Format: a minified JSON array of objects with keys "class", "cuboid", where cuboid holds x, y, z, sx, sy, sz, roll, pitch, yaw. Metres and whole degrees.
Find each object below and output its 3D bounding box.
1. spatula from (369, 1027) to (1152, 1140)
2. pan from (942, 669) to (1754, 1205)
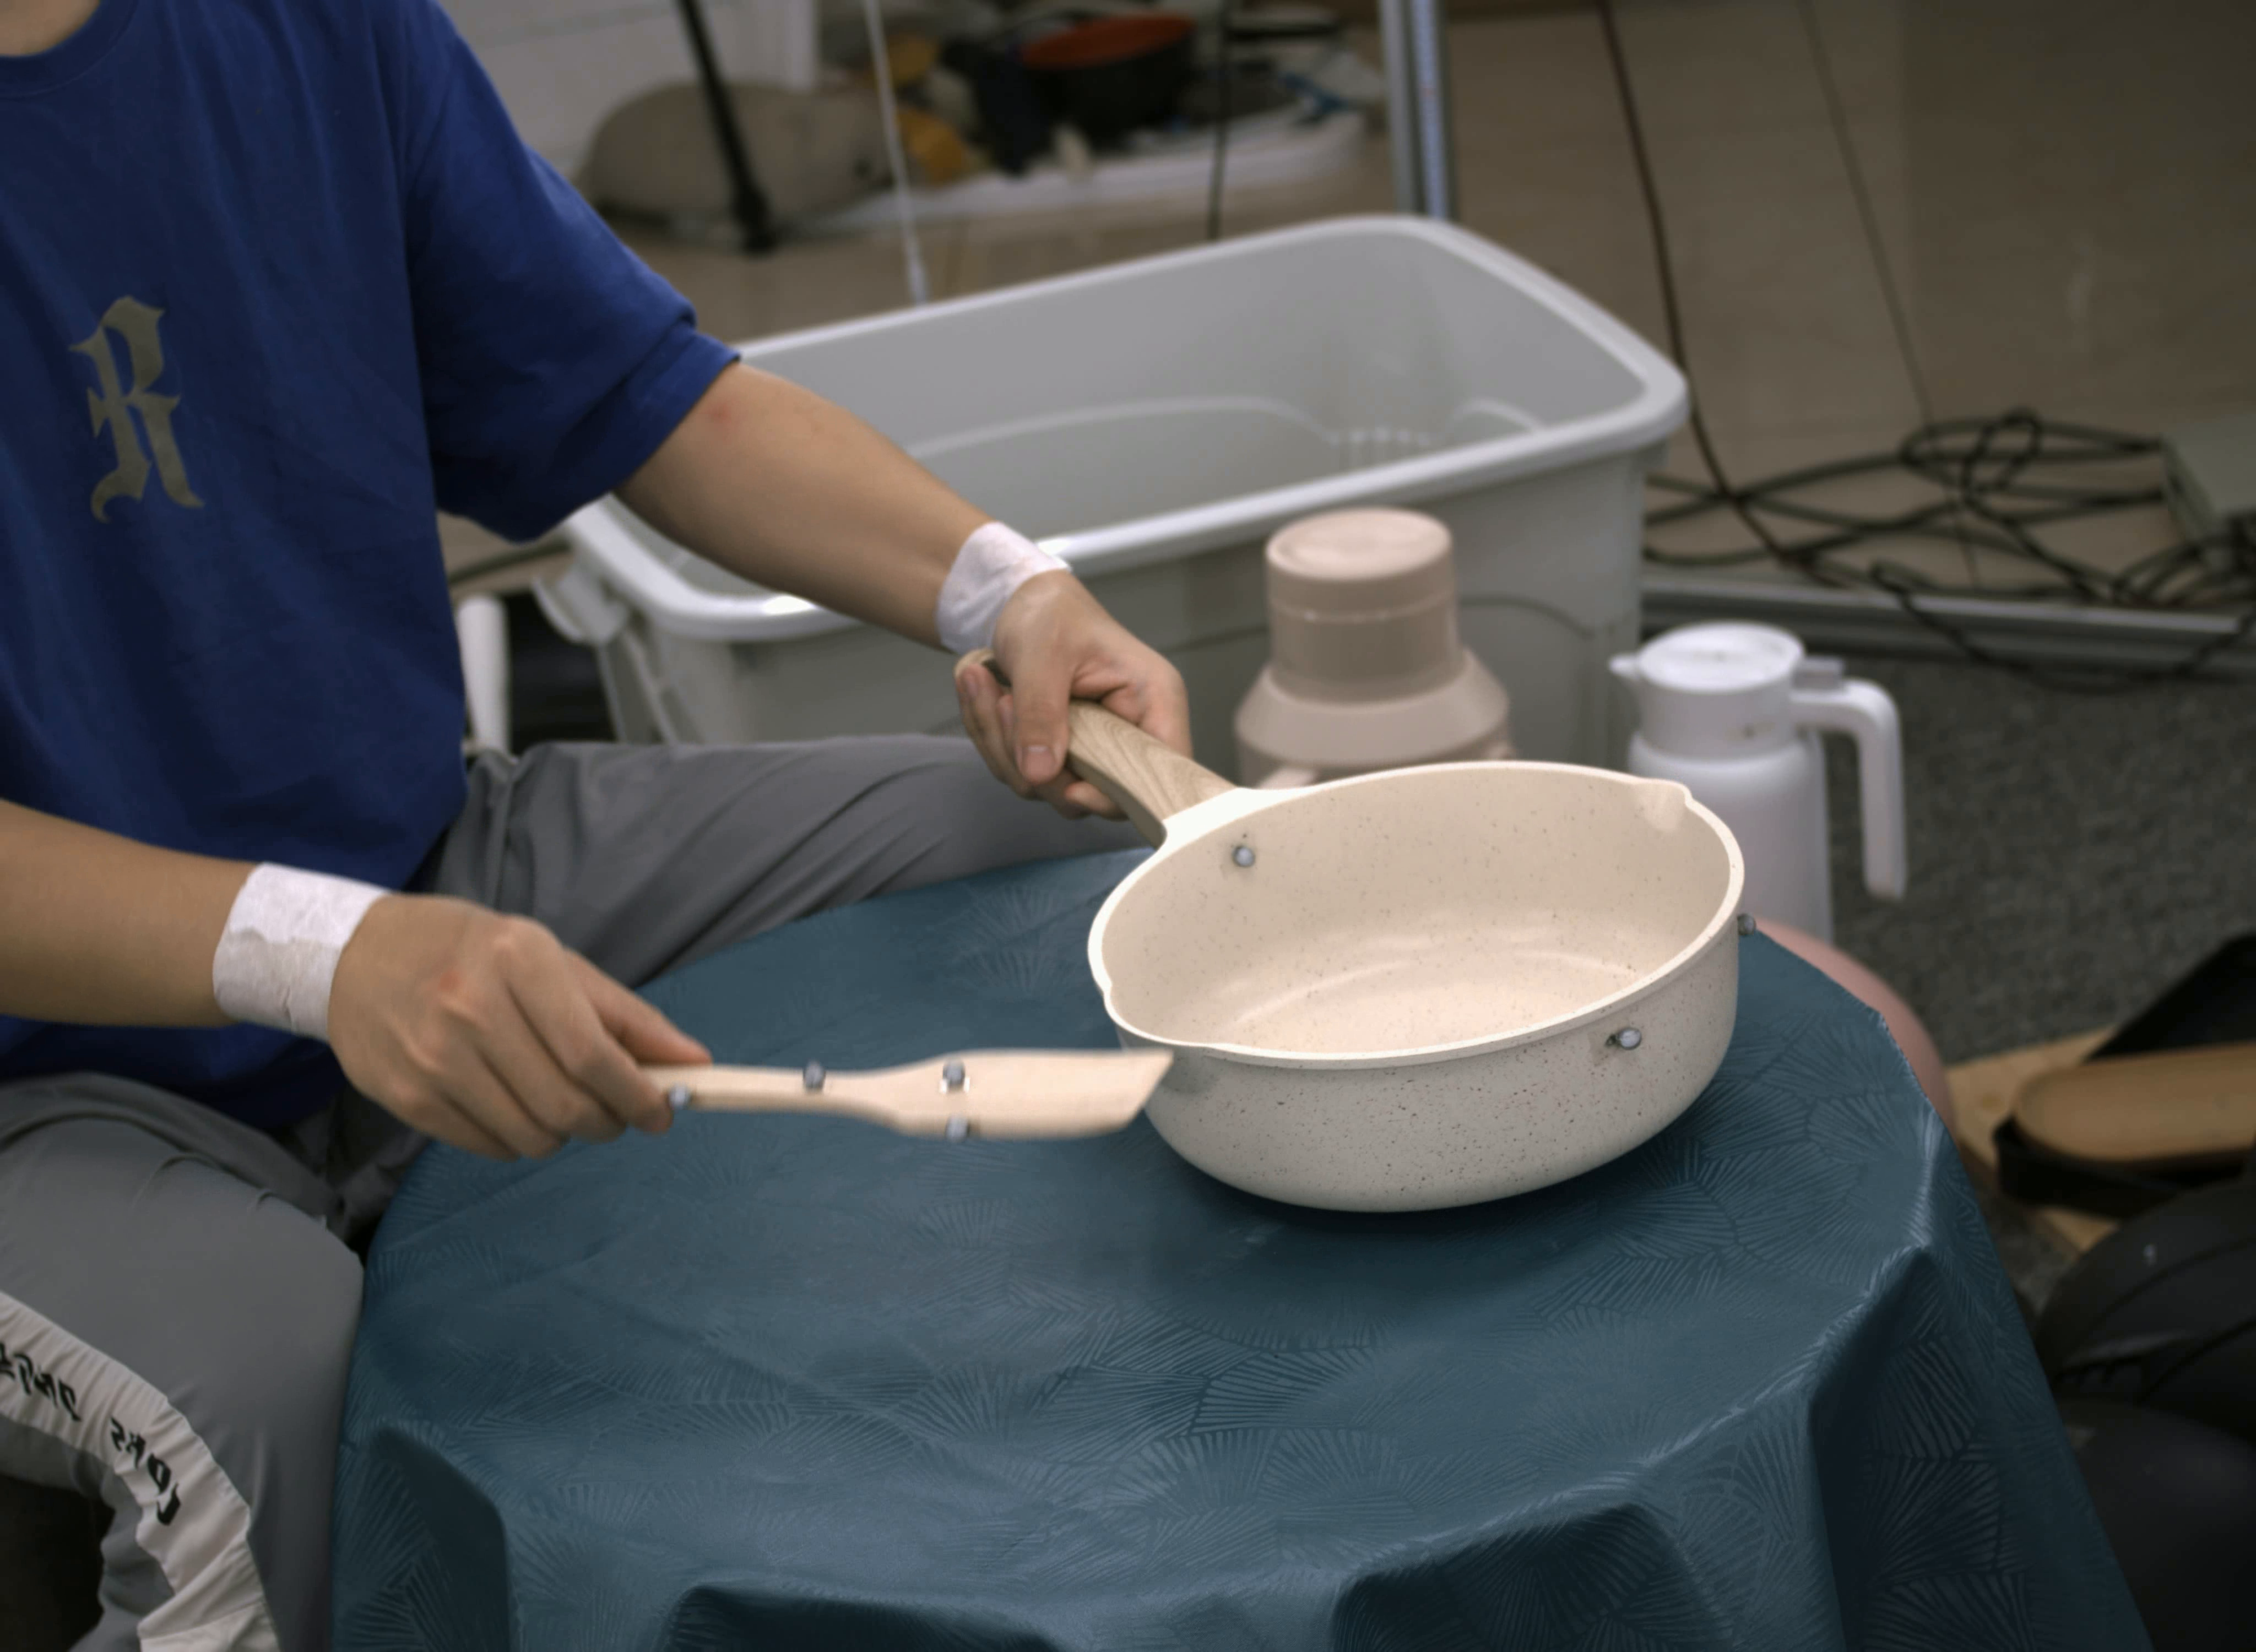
[{"class":"spatula","cuboid":[-0.138,0.089,2.035,0.292,0.011,0.071,3,20,18]},{"class":"pan","cuboid":[0.065,0.032,2.230,0.261,0.103,0.431,-27,29,-27]}]
